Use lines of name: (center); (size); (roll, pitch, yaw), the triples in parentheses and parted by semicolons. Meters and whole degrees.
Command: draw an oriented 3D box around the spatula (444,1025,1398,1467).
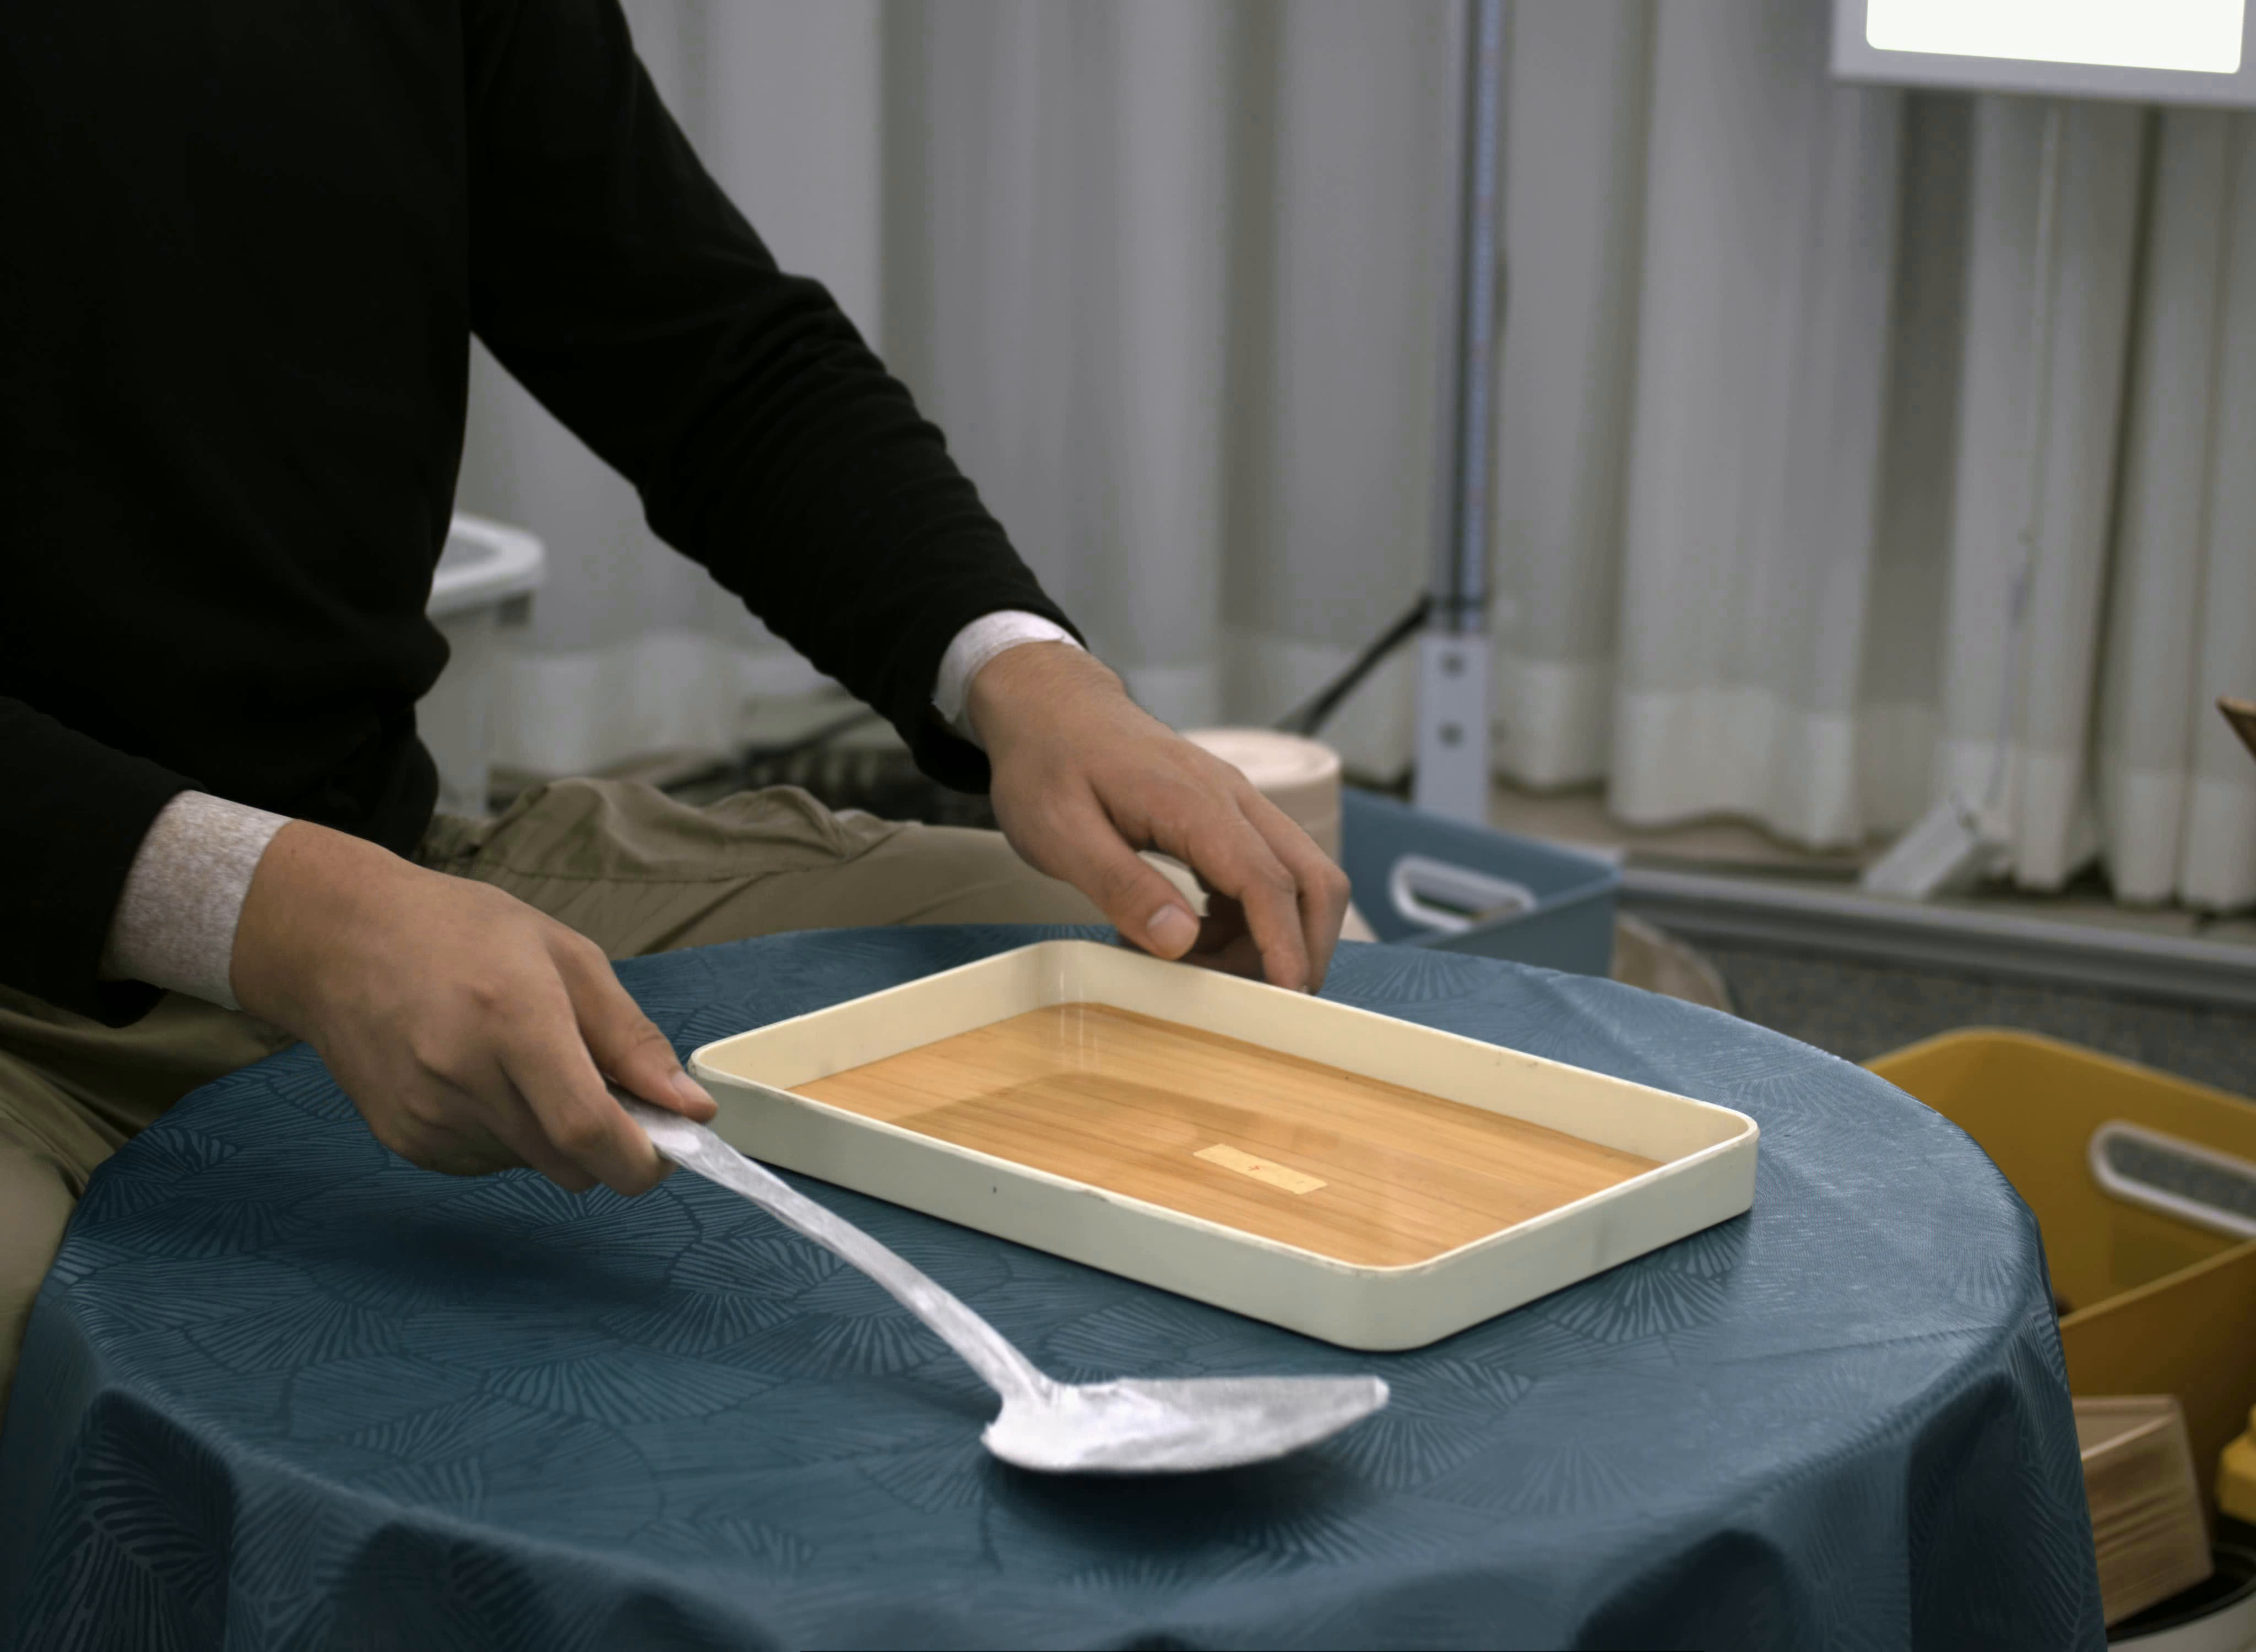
spatula: (-0.081, 0.110, 1.479); (0.360, 0.045, 0.099); (27, 29, 37)

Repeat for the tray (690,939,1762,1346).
tray: (0.027, 0.094, 1.638); (0.296, 0.027, 0.192); (14, 20, 40)
